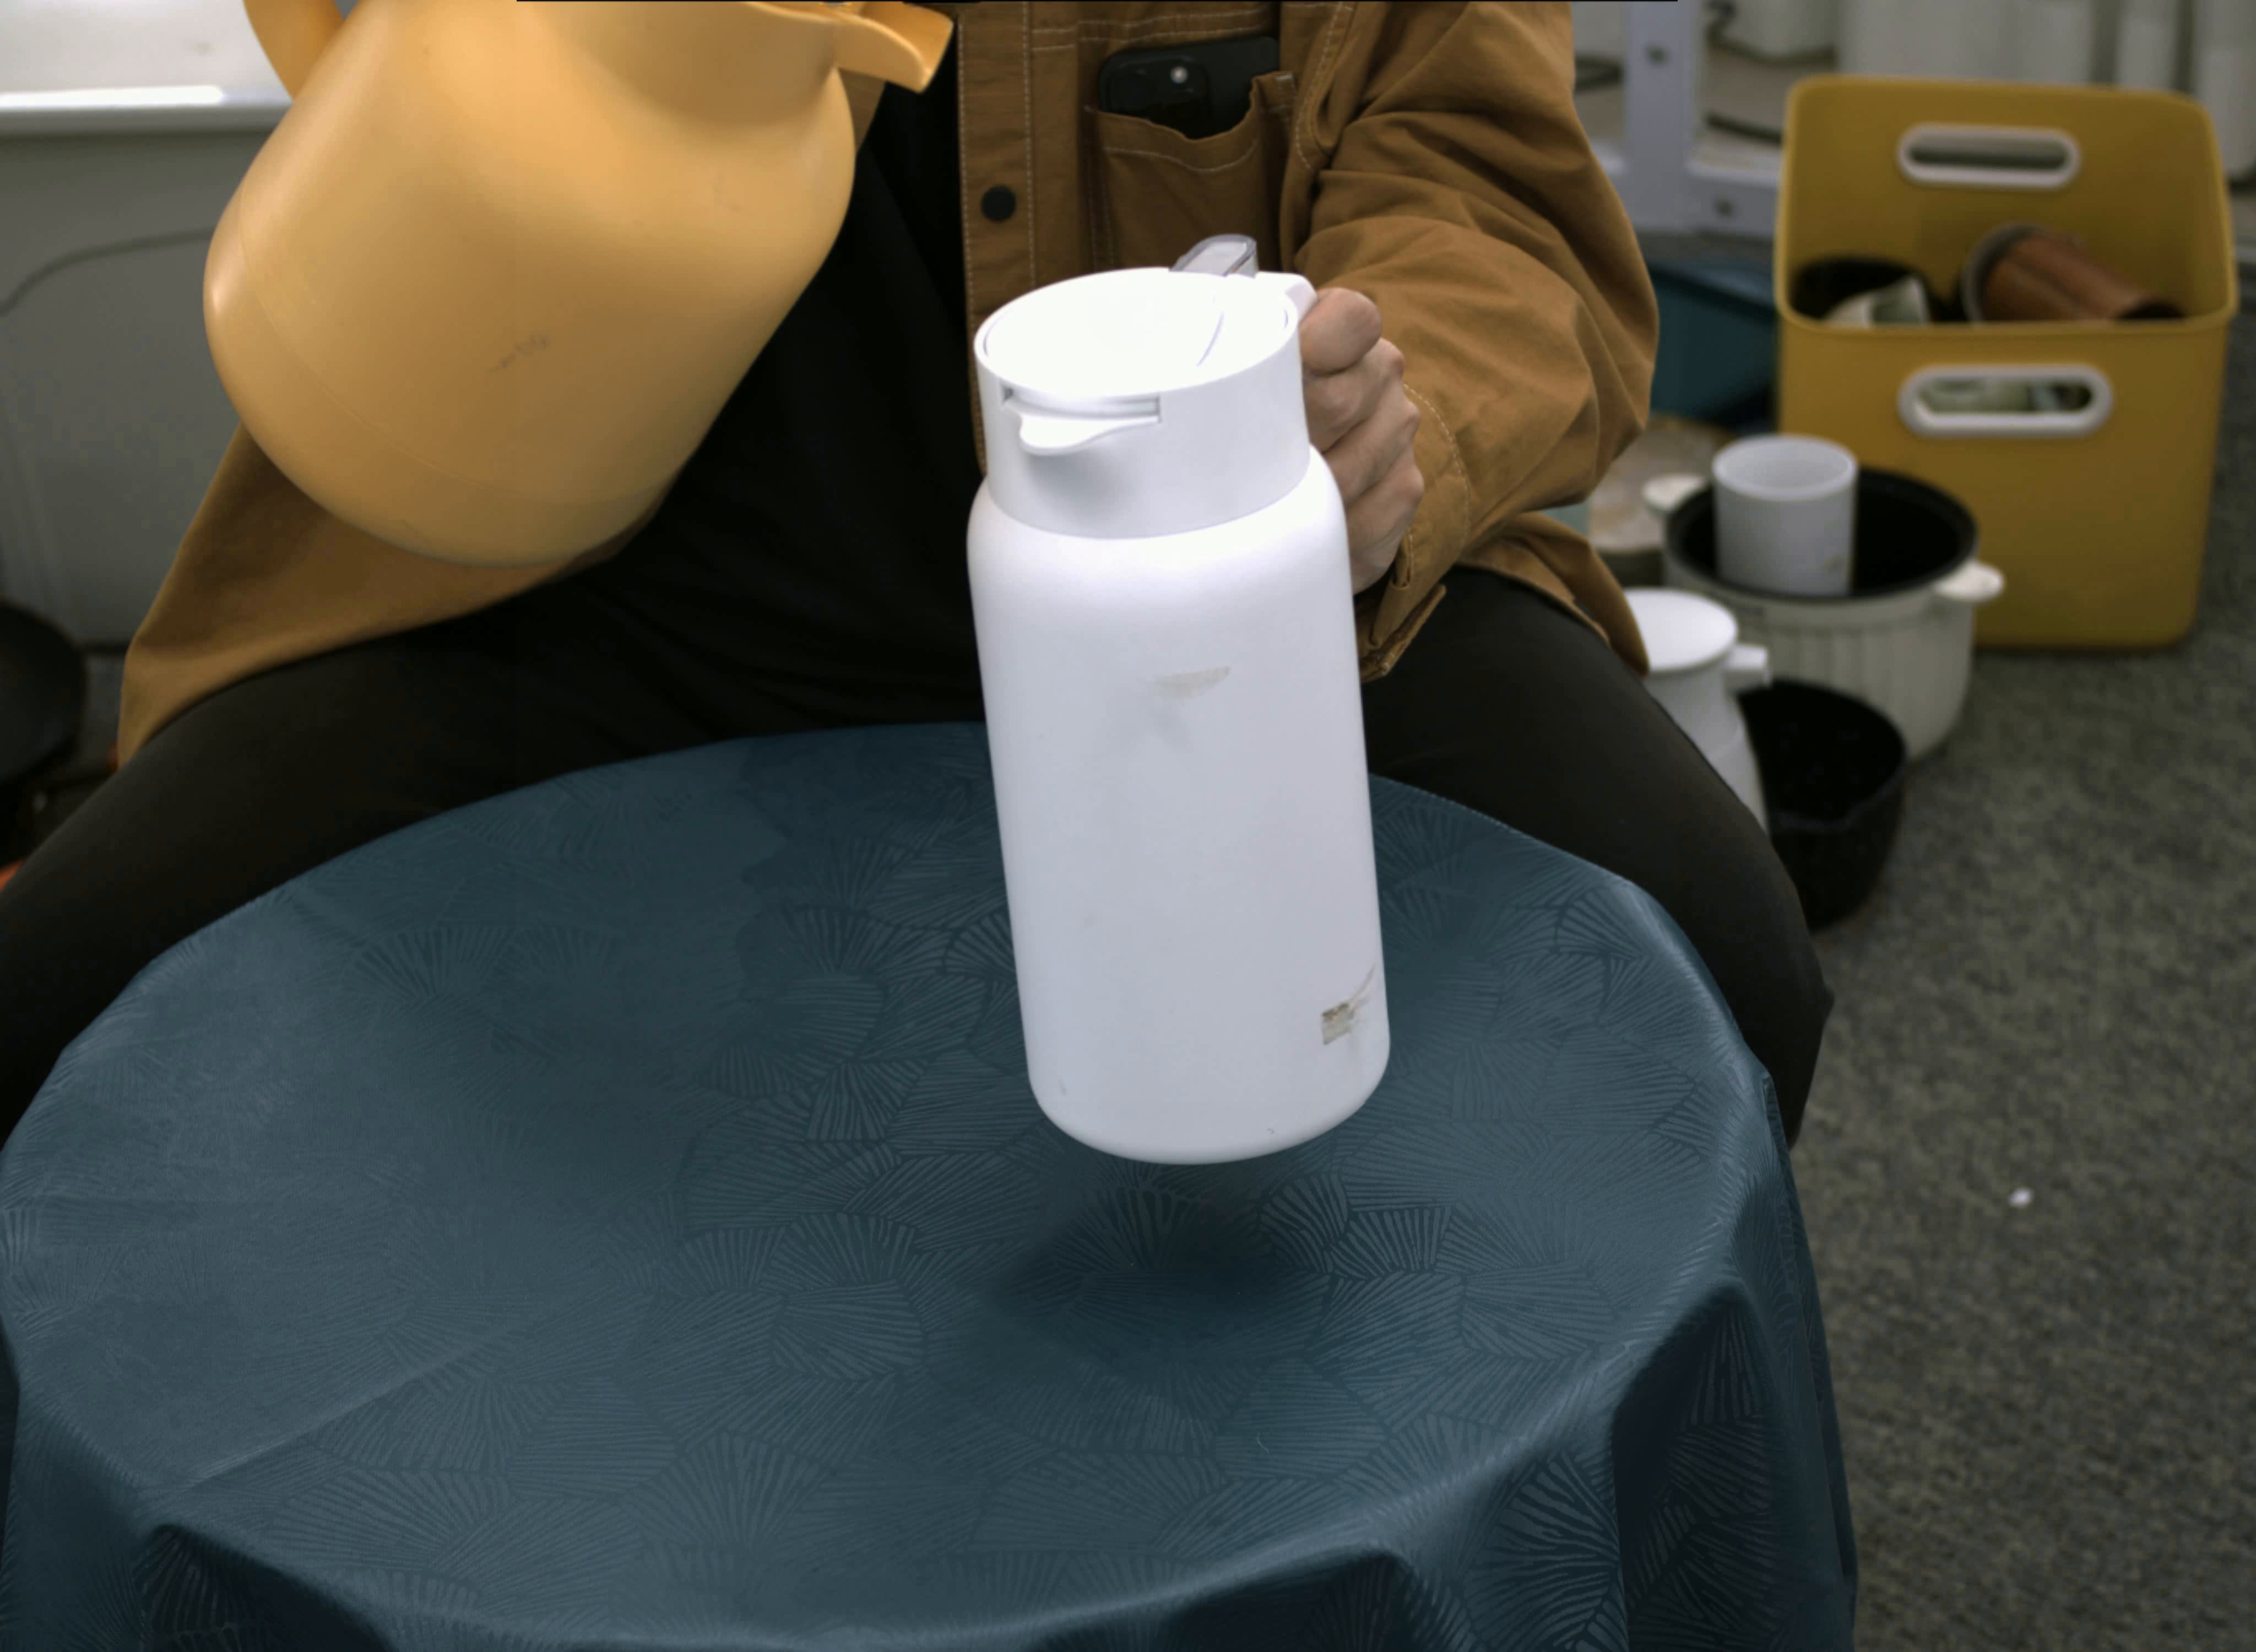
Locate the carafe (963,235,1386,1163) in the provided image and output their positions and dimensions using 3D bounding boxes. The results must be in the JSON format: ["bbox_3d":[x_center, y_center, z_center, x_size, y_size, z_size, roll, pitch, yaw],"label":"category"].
[{"bbox_3d":[0.019,-0.043,1.766,0.123,0.266,0.176,4,27,25],"label":"carafe"}]

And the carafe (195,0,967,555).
[{"bbox_3d":[-0.180,-0.224,1.721,0.202,0.256,0.166,39,35,-6],"label":"carafe"}]
